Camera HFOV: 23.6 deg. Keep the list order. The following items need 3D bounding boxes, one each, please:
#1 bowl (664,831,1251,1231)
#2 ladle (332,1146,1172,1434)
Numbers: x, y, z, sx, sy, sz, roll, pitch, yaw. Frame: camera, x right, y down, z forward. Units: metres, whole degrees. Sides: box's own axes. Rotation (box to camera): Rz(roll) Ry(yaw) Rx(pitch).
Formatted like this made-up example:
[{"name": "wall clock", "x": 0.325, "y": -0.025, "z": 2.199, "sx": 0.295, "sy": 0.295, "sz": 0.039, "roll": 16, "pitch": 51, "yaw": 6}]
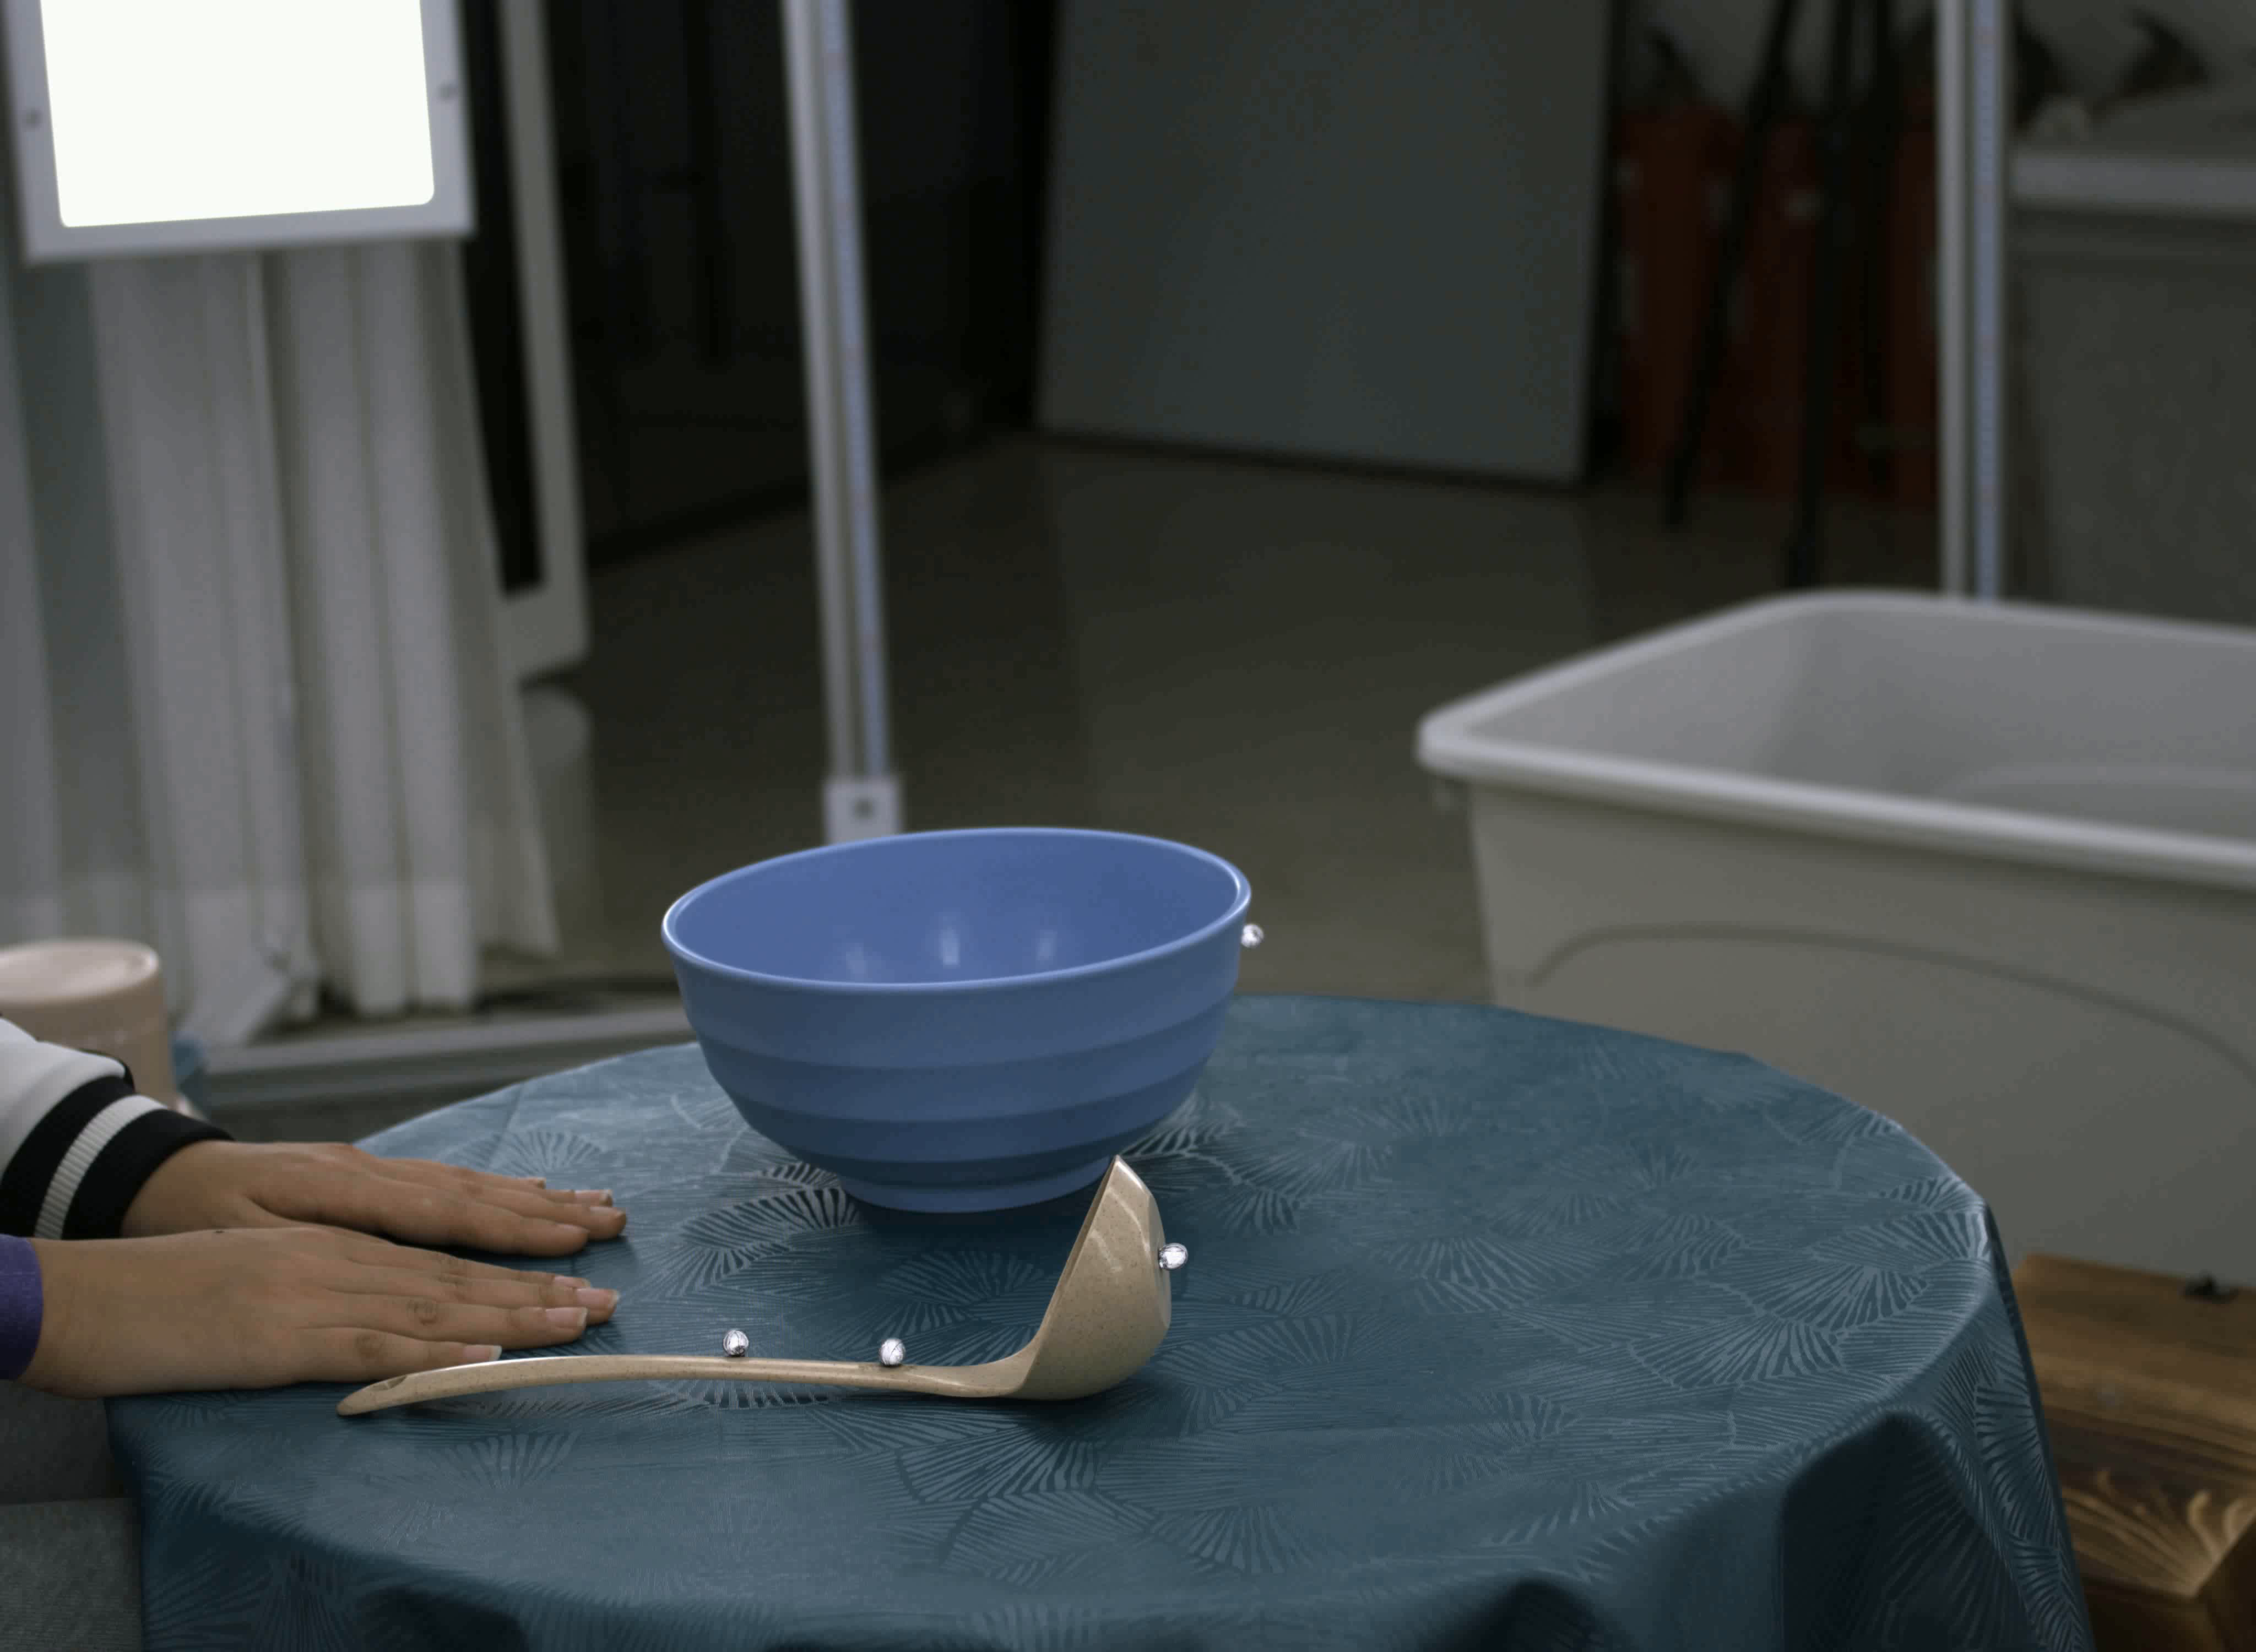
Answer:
[{"name": "bowl", "x": -0.053, "y": 0.074, "z": 1.792, "sx": 0.194, "sy": 0.096, "sz": 0.197, "roll": -5, "pitch": 15, "yaw": 0}, {"name": "ladle", "x": -0.113, "y": 0.136, "z": 1.589, "sx": 0.252, "sy": 0.073, "sz": 0.072, "roll": -3, "pitch": 13, "yaw": 5}]
